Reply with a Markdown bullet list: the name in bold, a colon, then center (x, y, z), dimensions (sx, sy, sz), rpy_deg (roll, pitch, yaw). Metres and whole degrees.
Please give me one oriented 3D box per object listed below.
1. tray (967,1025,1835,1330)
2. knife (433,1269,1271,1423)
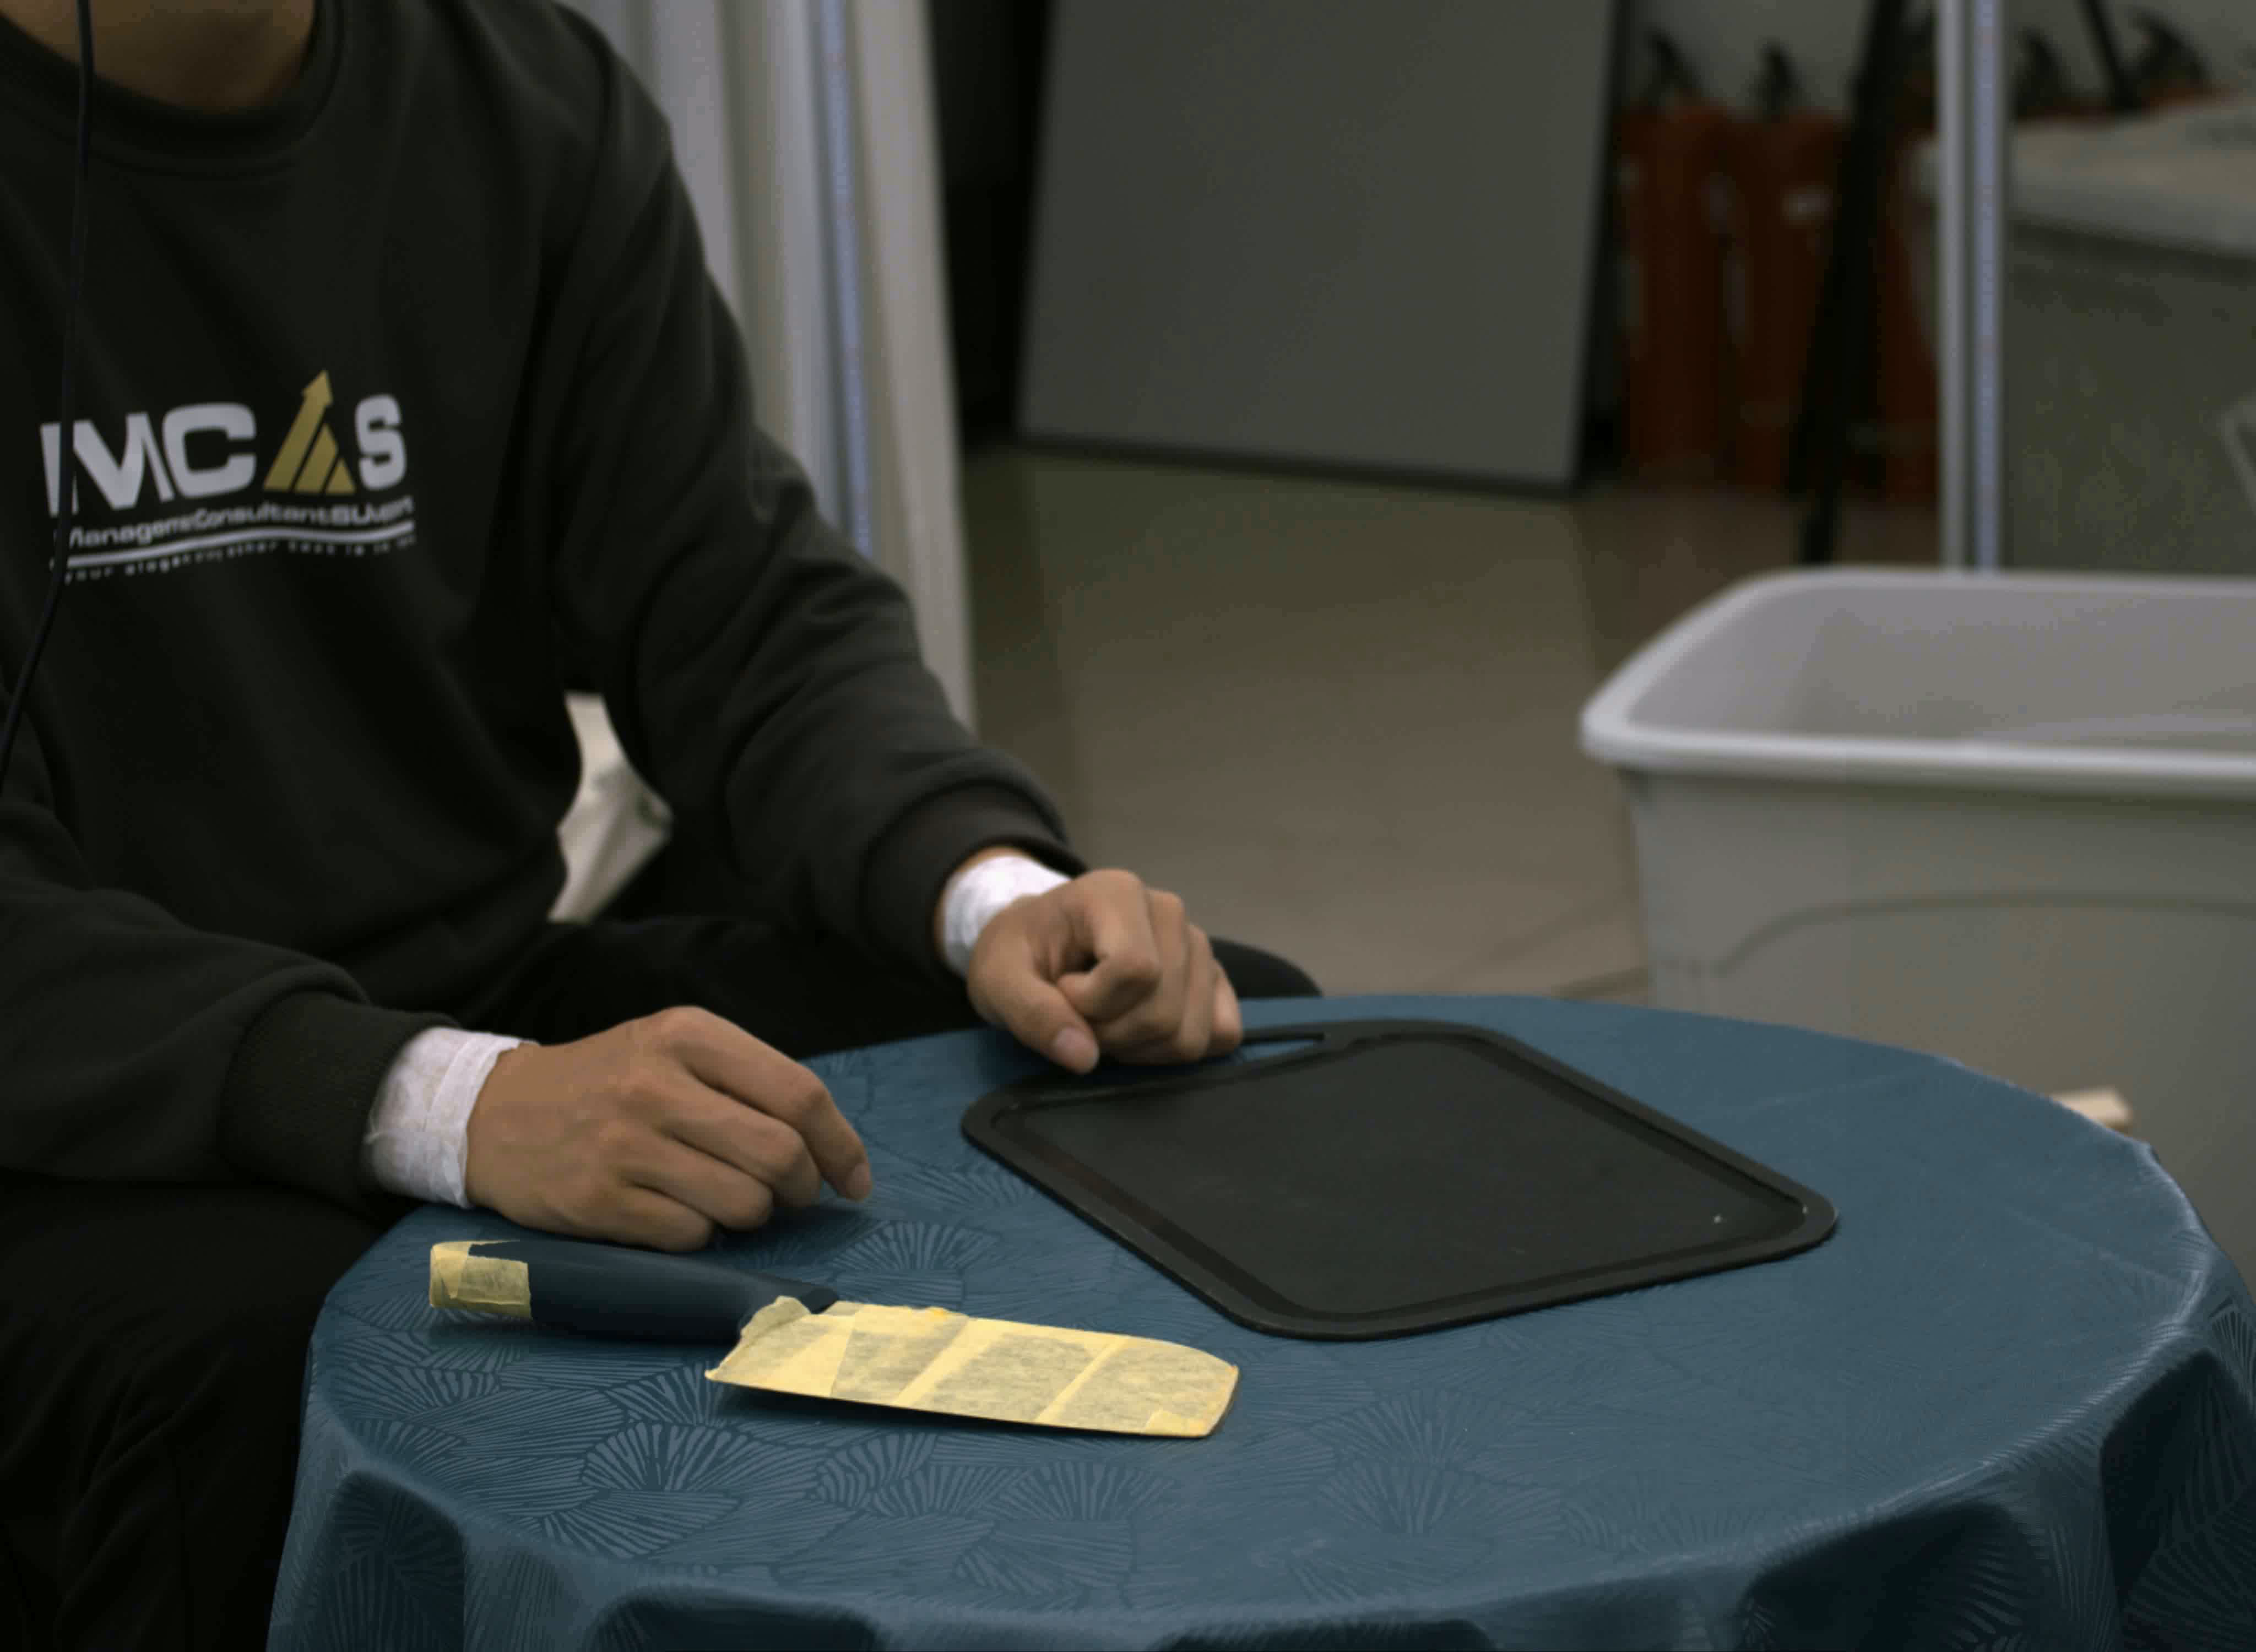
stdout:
- **tray**: center (0.079, 0.110, 1.784), dimensions (0.206, 0.010, 0.328), rpy_deg (-9, 14, -21)
- **knife**: center (-0.089, 0.158, 1.618), dimensions (0.290, 0.027, 0.080), rpy_deg (3, 14, 25)
